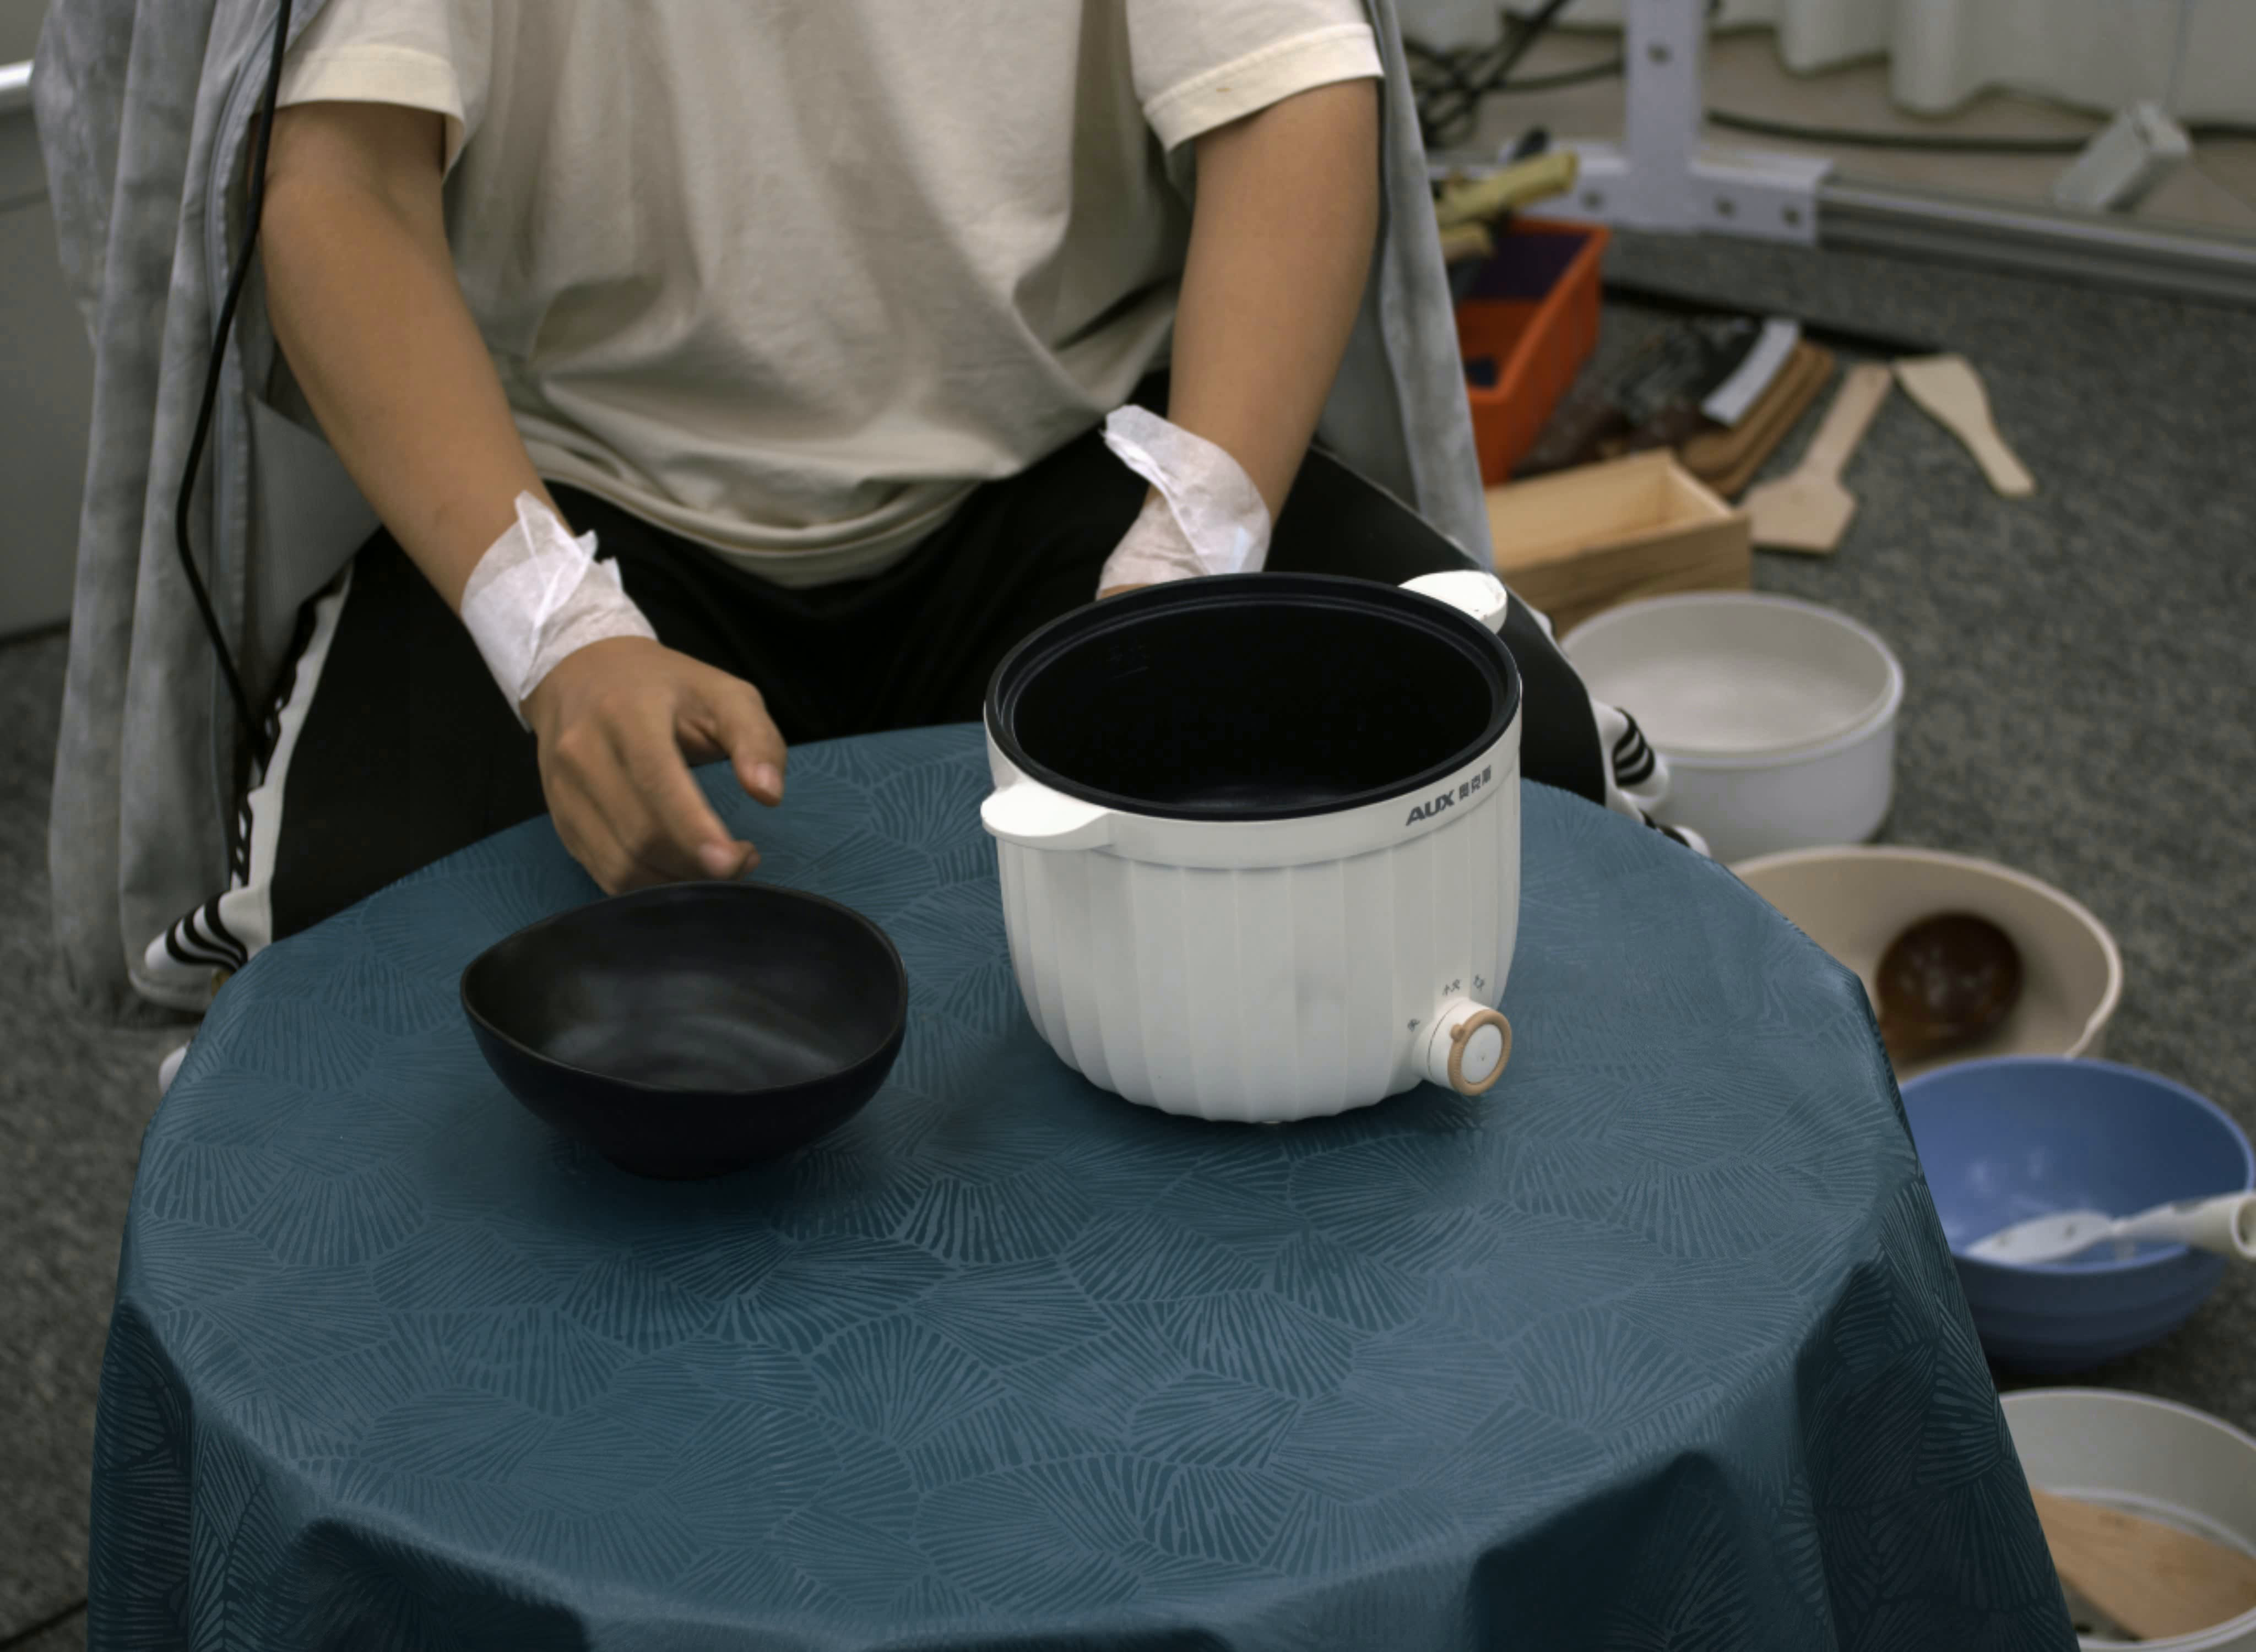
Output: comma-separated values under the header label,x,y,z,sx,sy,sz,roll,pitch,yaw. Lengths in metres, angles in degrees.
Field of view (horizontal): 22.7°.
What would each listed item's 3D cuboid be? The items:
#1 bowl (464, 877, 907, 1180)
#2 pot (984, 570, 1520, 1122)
label,x,y,z,sx,sy,sz,roll,pitch,yaw
bowl,-0.148,0.076,1.891,0.170,0.066,0.139,19,34,39
pot,0.050,0.012,1.918,0.190,0.141,0.243,17,34,41
